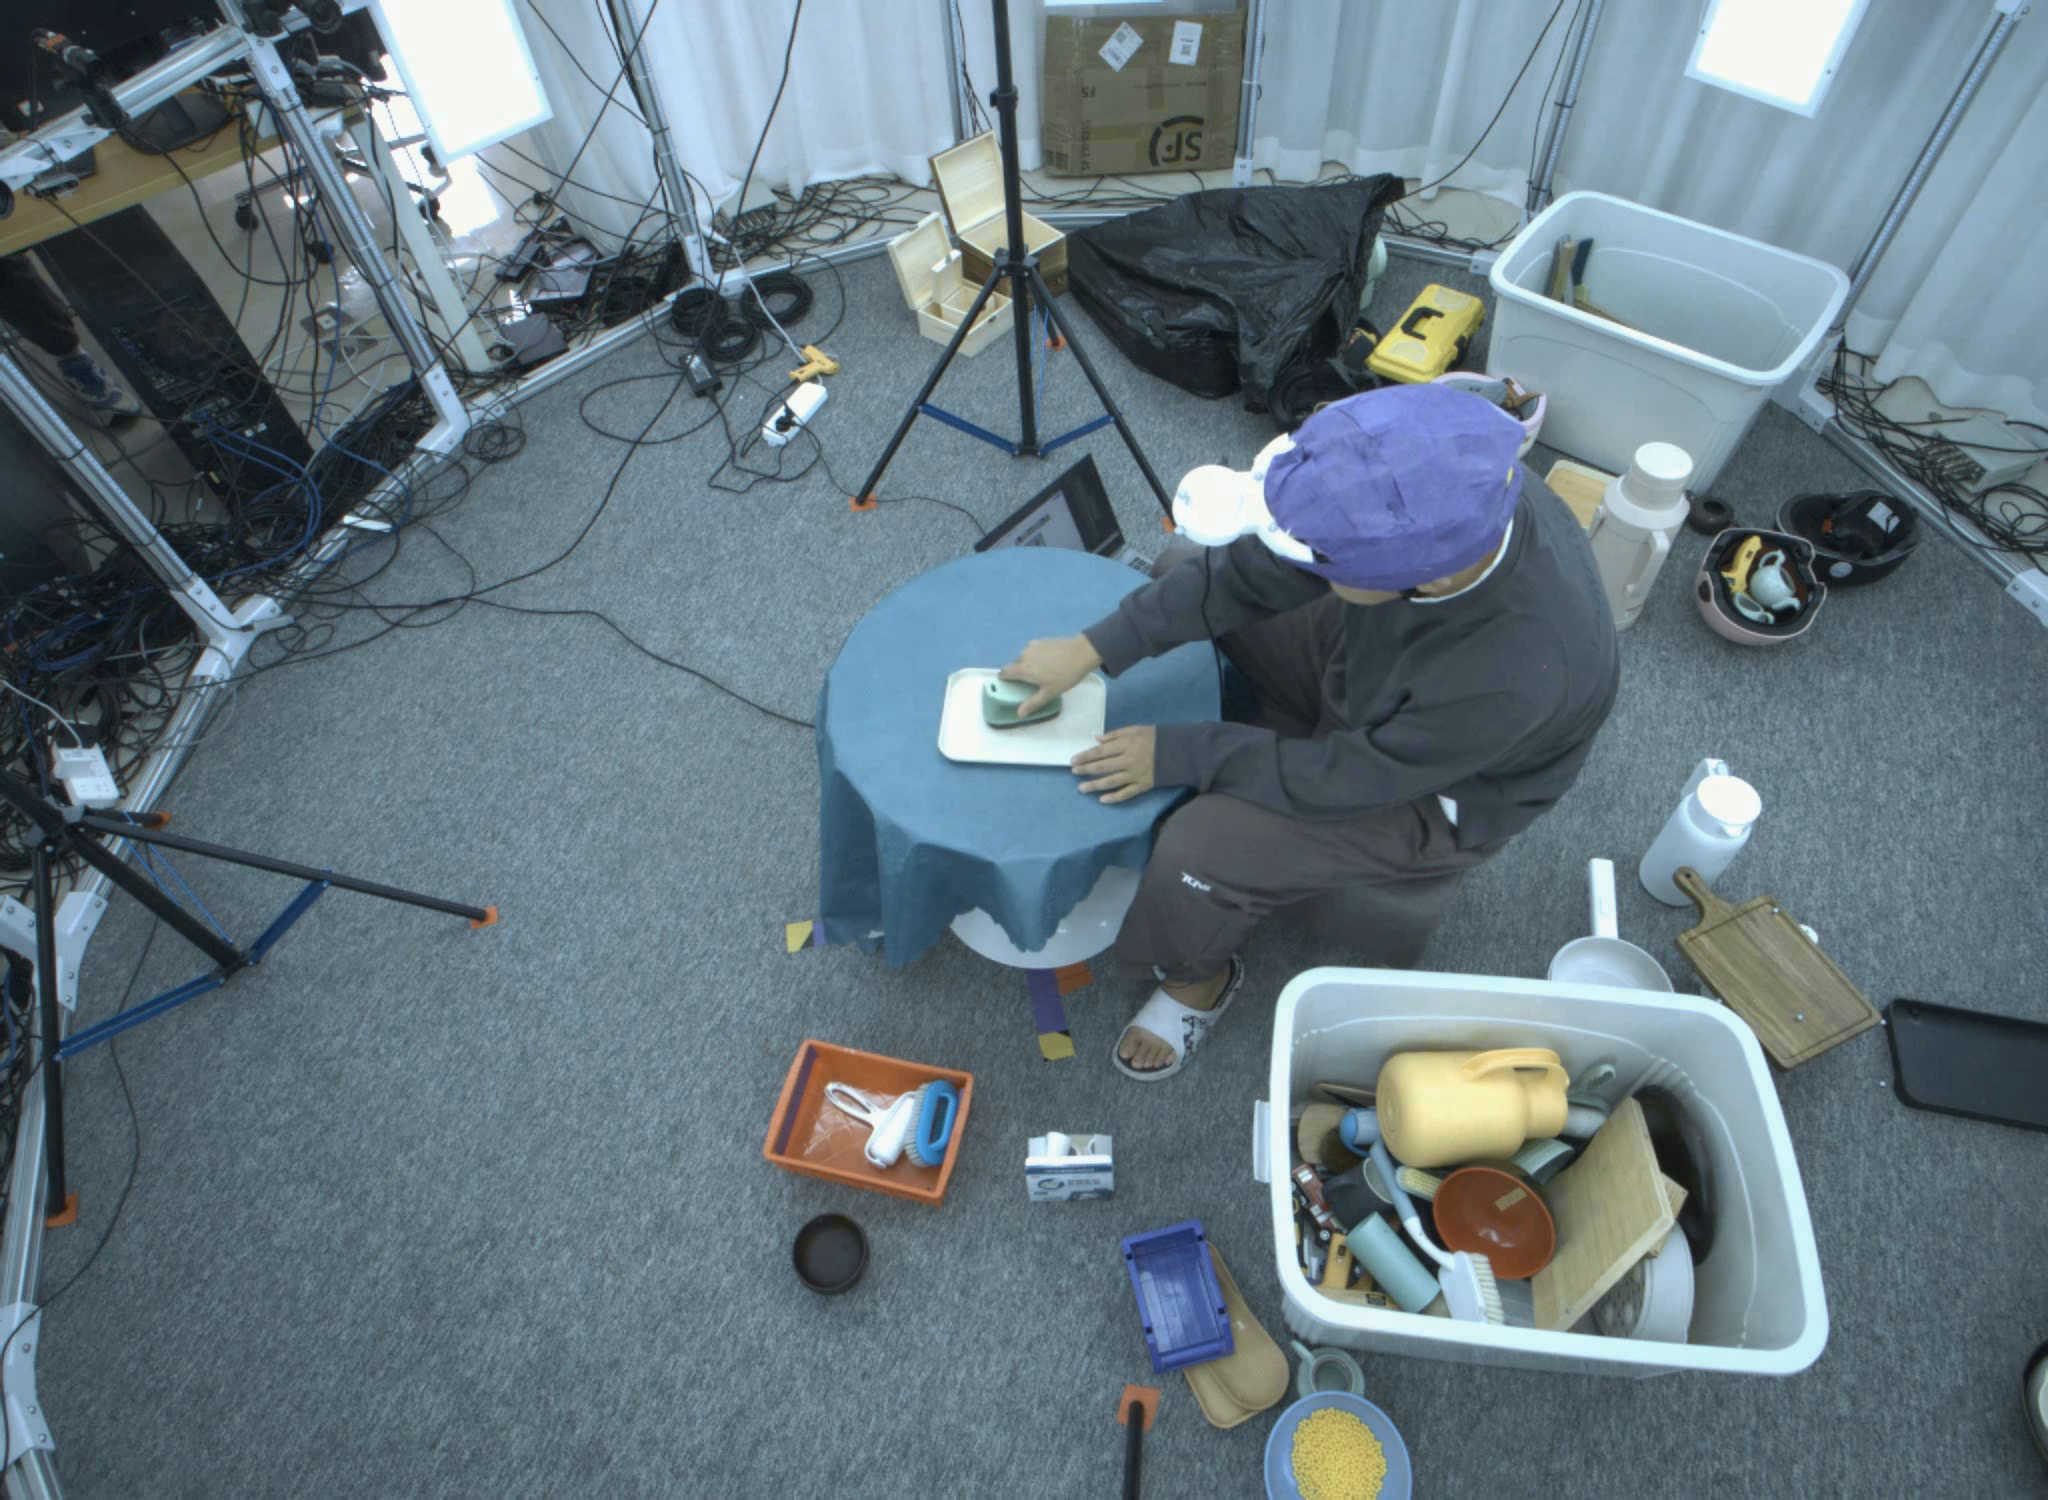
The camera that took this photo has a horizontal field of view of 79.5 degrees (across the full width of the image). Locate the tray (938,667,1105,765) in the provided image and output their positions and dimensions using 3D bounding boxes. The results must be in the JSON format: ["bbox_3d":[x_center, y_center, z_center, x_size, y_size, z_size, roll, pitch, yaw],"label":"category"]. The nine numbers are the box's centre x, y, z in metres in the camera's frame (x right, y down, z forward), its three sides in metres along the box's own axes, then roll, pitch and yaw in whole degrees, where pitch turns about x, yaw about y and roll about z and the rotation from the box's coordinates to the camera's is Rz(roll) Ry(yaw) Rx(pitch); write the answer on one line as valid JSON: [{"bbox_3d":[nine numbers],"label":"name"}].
[{"bbox_3d":[-0.002,-0.050,1.812,0.239,0.017,0.170,3,56,3],"label":"tray"}]

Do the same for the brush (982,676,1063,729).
[{"bbox_3d":[-0.005,-0.071,1.802,0.124,0.076,0.058,-4,53,-18],"label":"brush"}]
